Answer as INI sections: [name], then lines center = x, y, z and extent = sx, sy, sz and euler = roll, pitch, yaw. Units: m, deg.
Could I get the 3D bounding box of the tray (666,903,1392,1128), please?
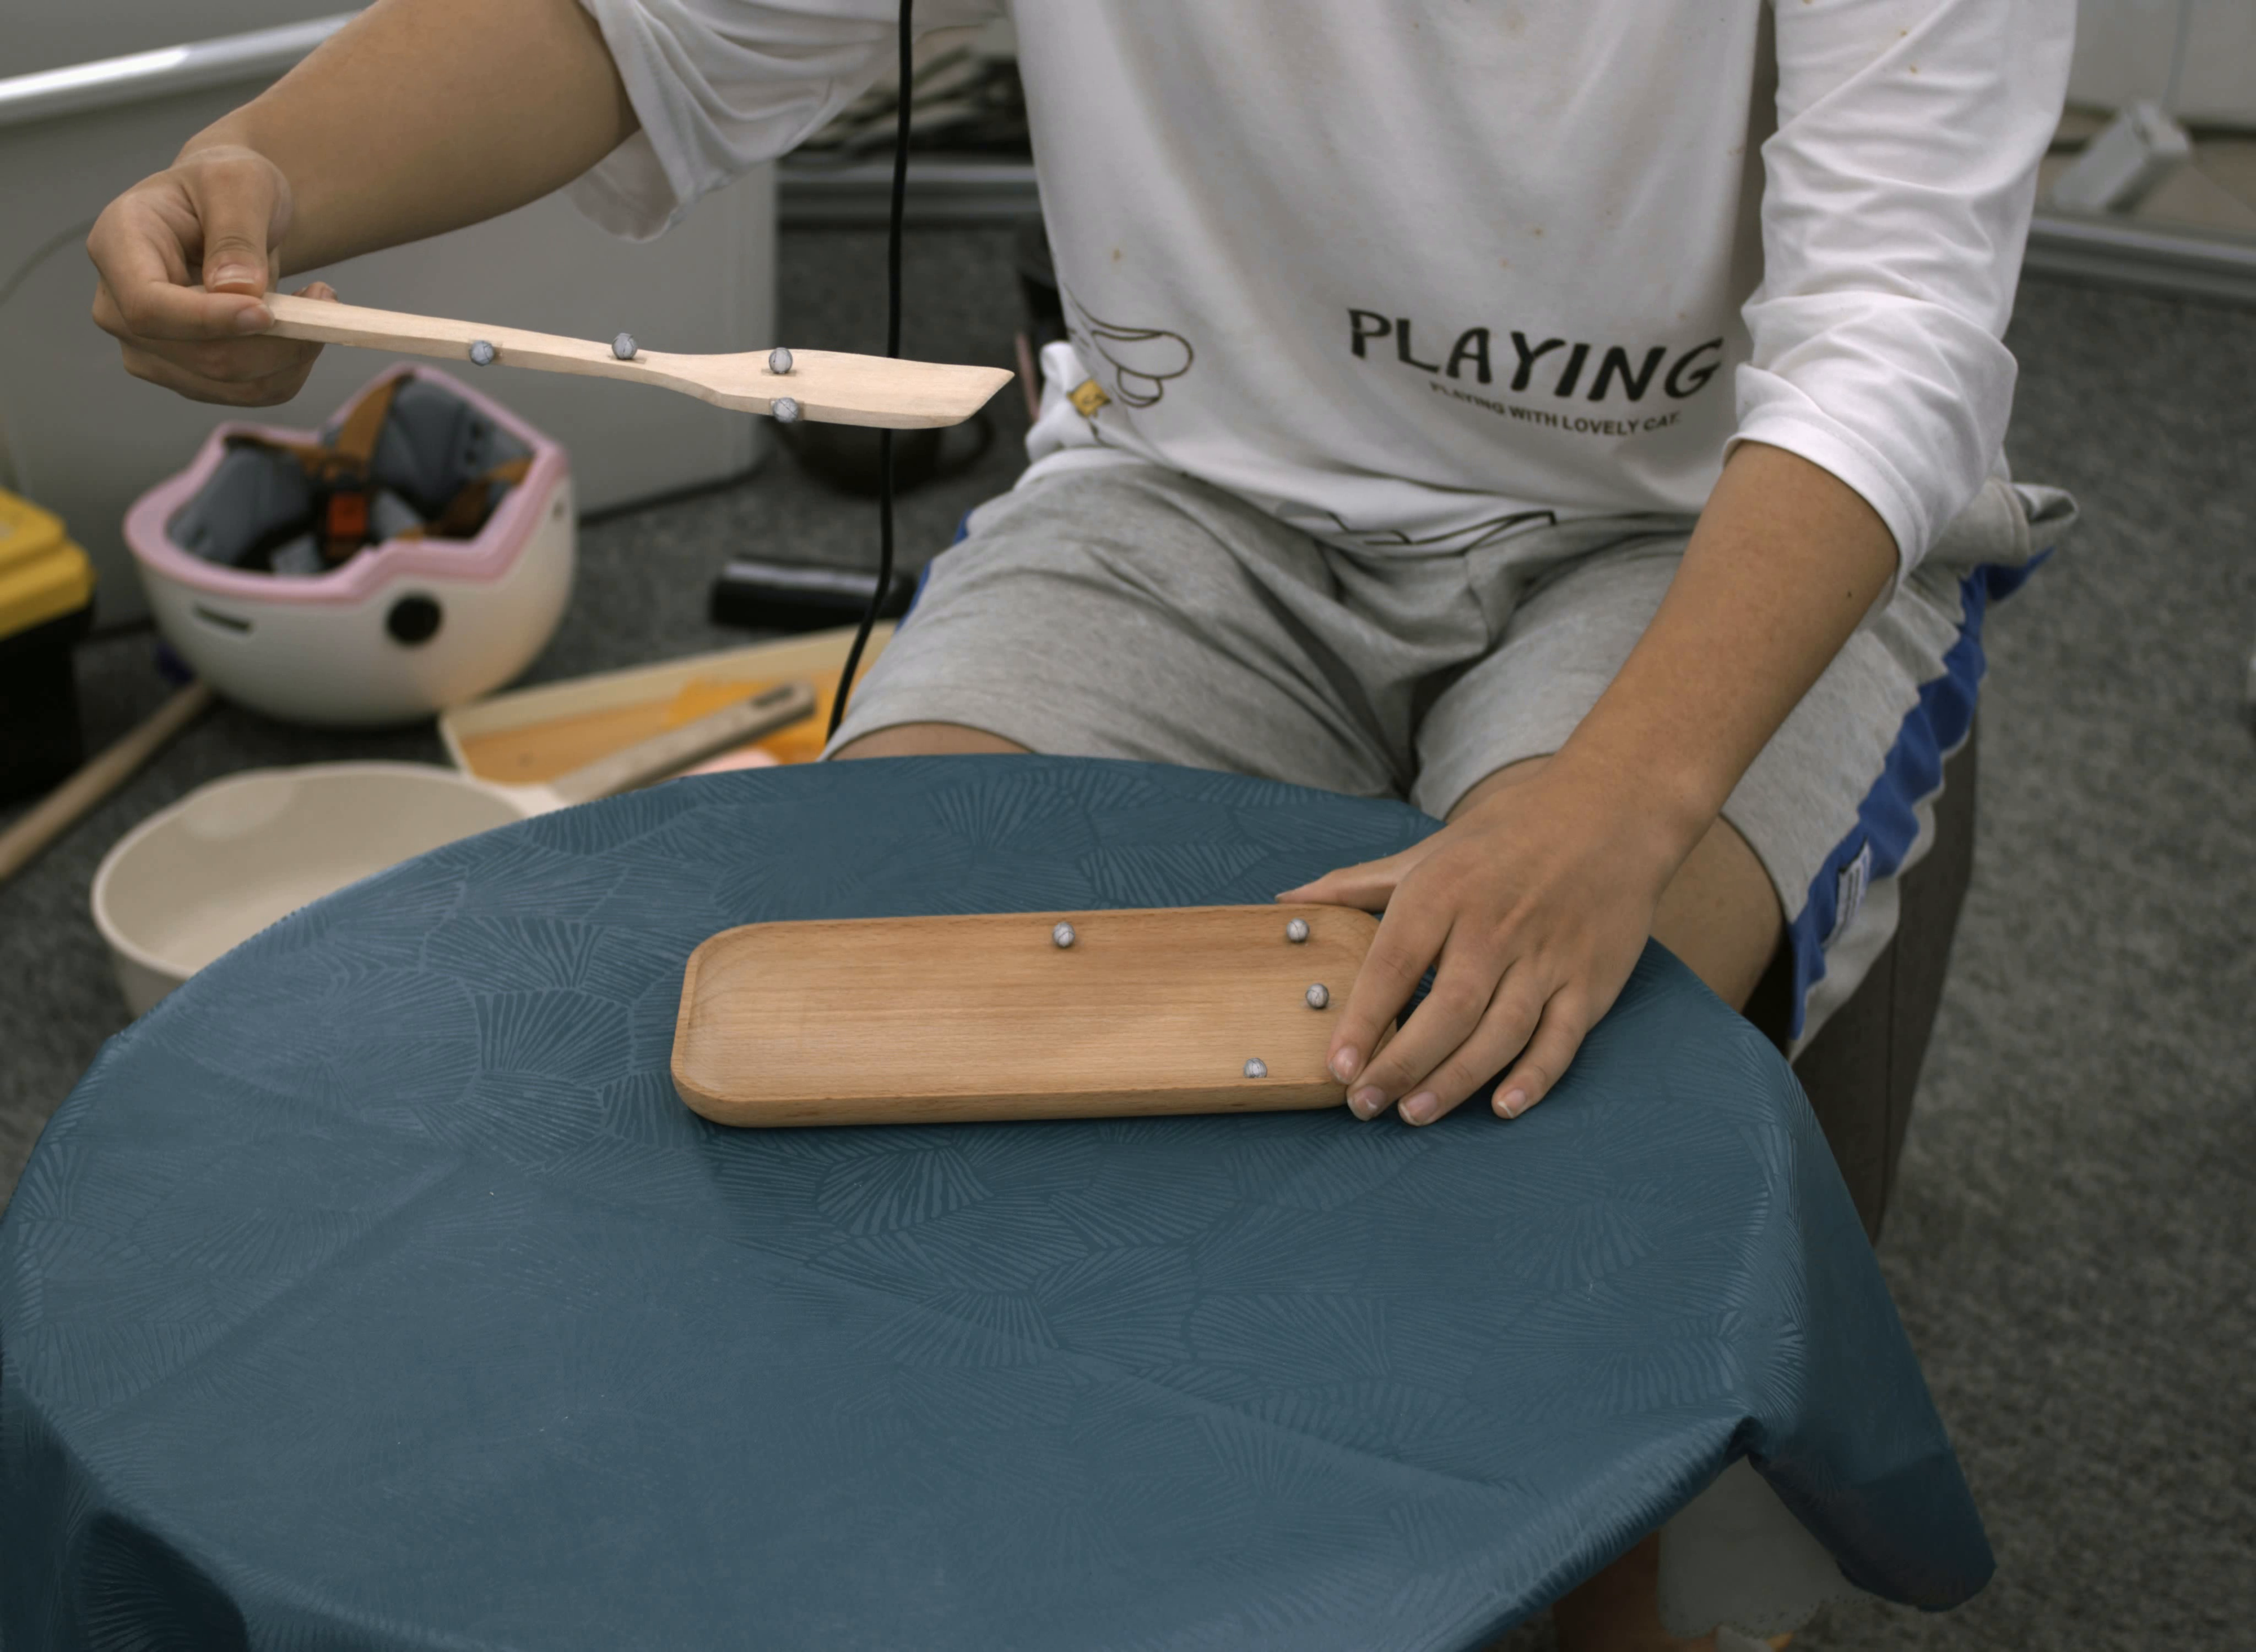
[tray]
center = -0.033, 0.067, 1.958
extent = 0.249, 0.022, 0.132
euler = -2, 25, 2

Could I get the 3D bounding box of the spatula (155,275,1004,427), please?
[spatula]
center = -0.189, -0.160, 1.896
extent = 0.291, 0.010, 0.073
euler = 8, 20, 11
